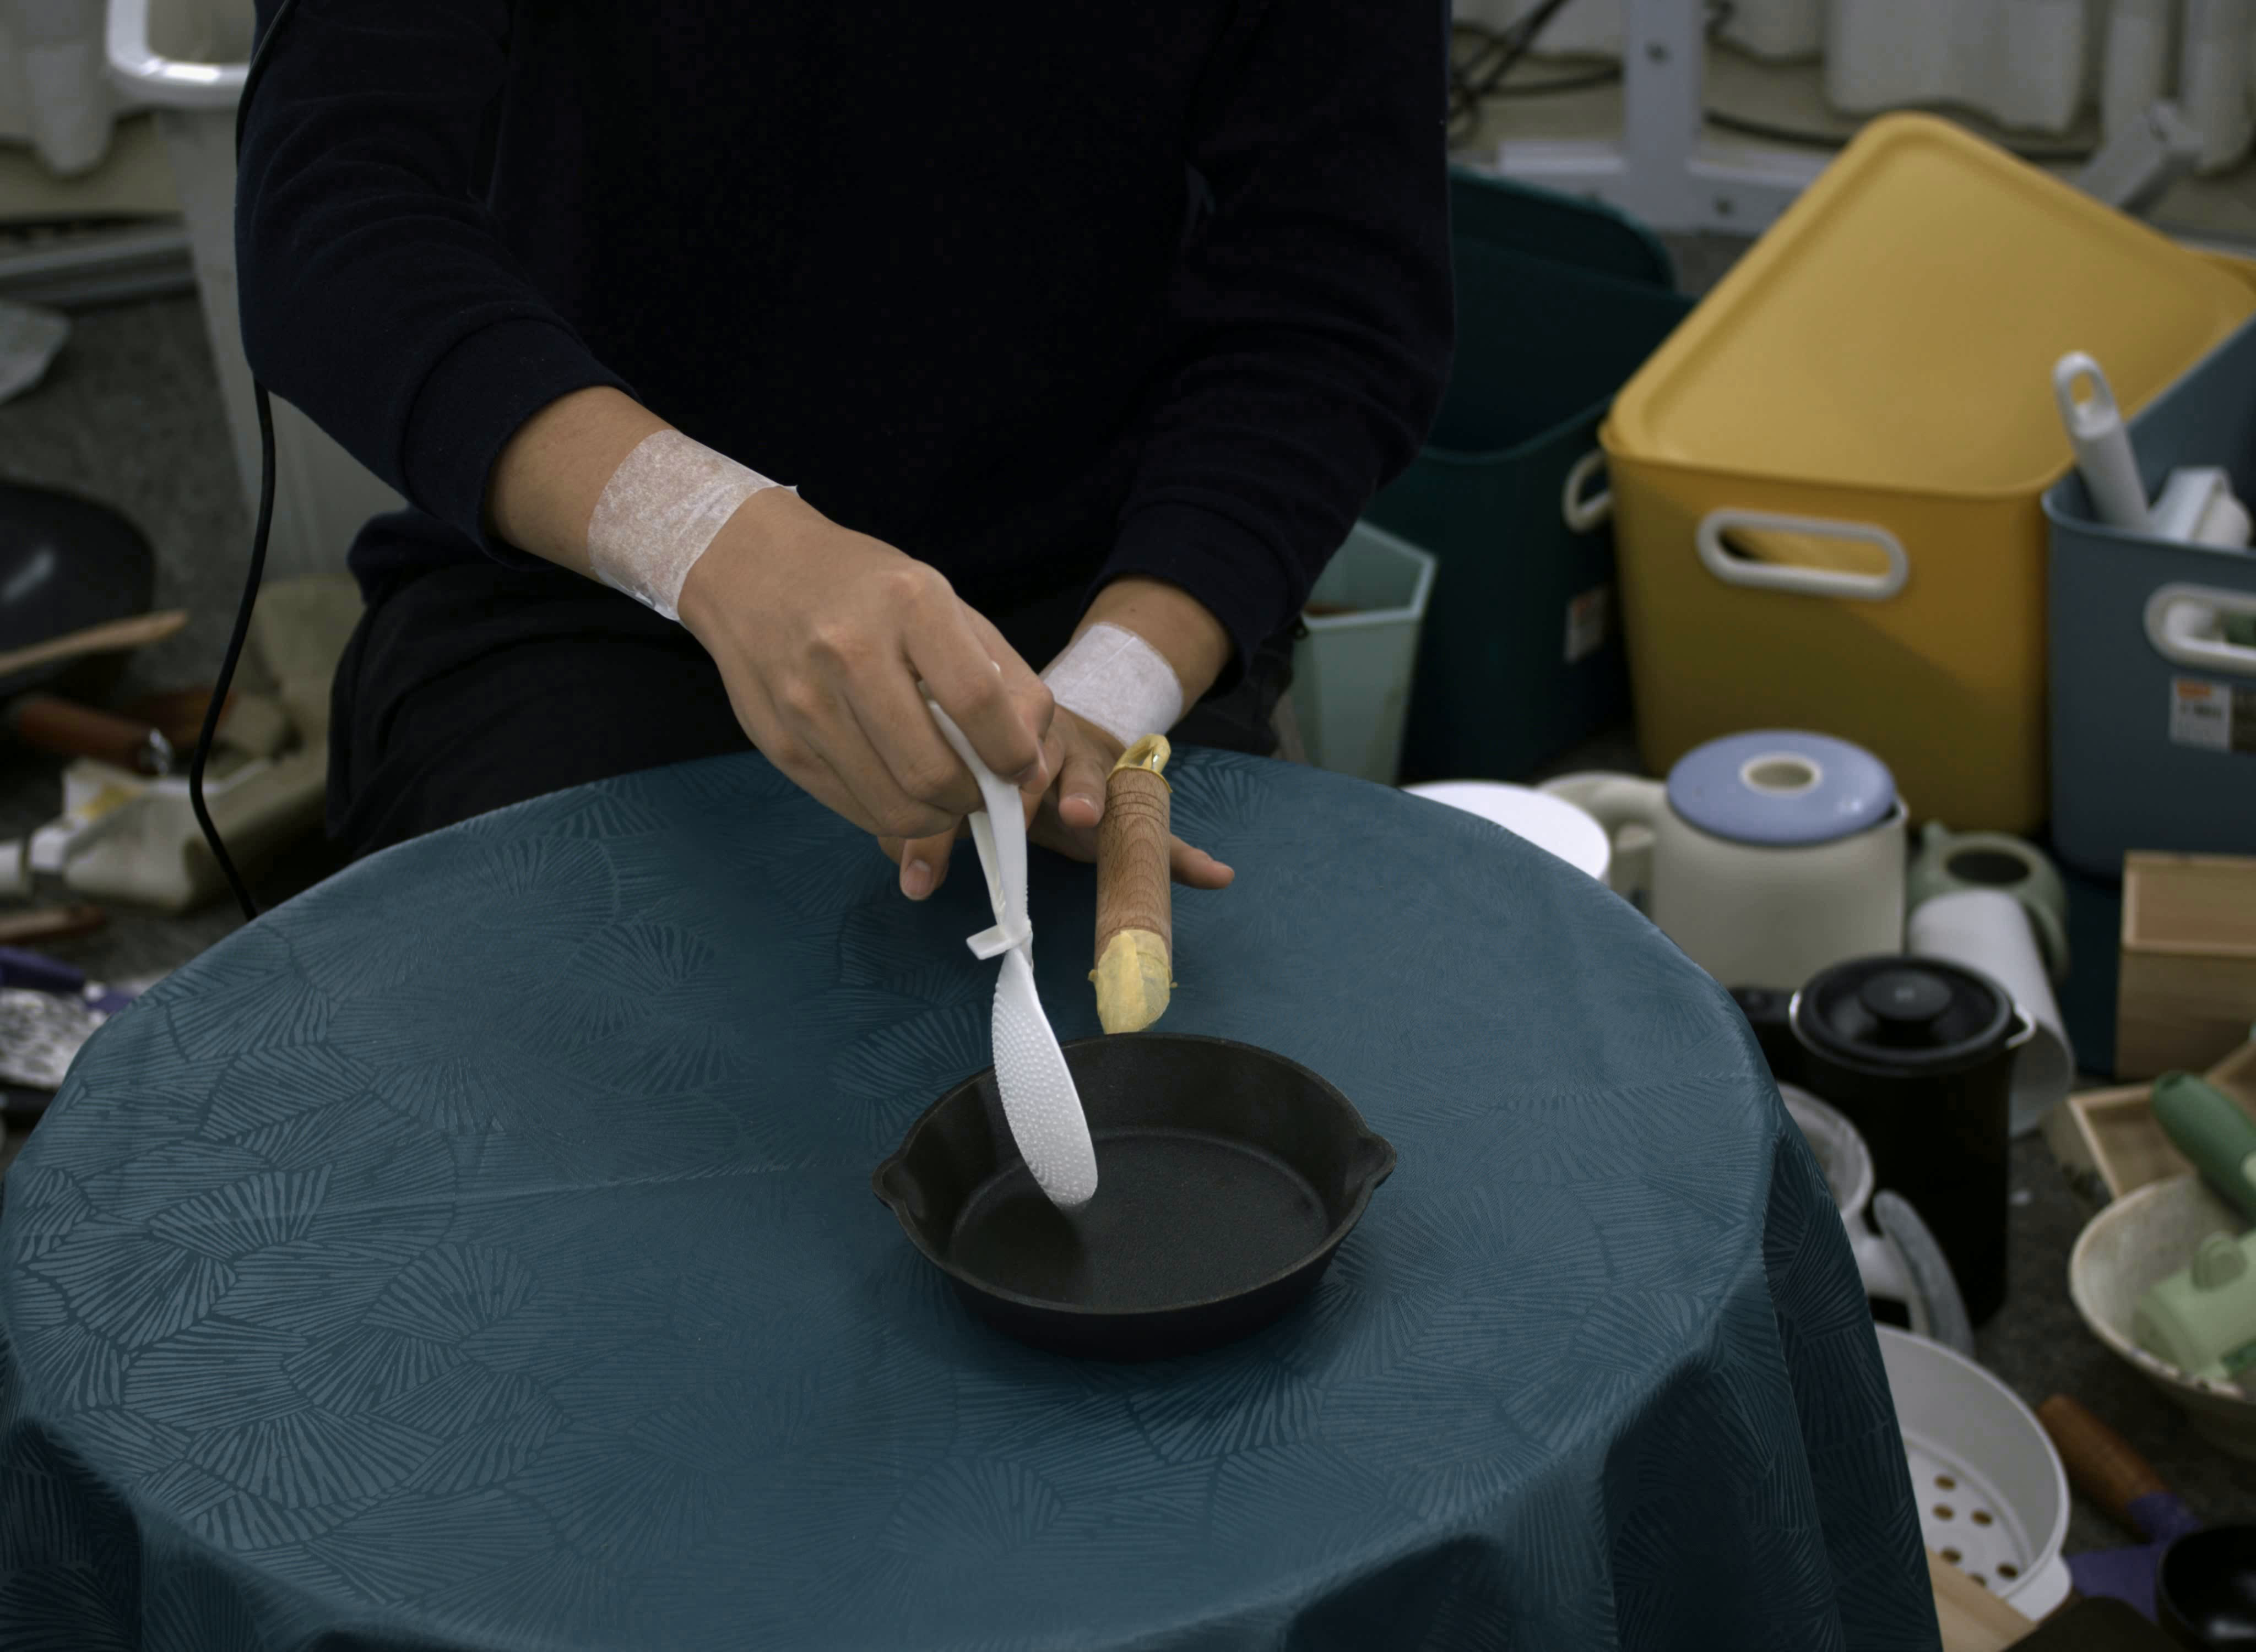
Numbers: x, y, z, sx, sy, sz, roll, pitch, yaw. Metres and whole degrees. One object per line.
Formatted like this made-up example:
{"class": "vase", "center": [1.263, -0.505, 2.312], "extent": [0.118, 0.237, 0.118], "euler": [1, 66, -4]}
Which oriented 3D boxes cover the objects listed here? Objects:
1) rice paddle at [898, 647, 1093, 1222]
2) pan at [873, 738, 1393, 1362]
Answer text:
{"class": "rice paddle", "center": [-0.037, 0.038, 1.791], "extent": [0.029, 0.203, 0.069], "euler": [-20, 29, -14]}
{"class": "pan", "center": [0.004, 0.072, 1.886], "extent": [0.168, 0.049, 0.330], "euler": [-2, 32, 3]}
